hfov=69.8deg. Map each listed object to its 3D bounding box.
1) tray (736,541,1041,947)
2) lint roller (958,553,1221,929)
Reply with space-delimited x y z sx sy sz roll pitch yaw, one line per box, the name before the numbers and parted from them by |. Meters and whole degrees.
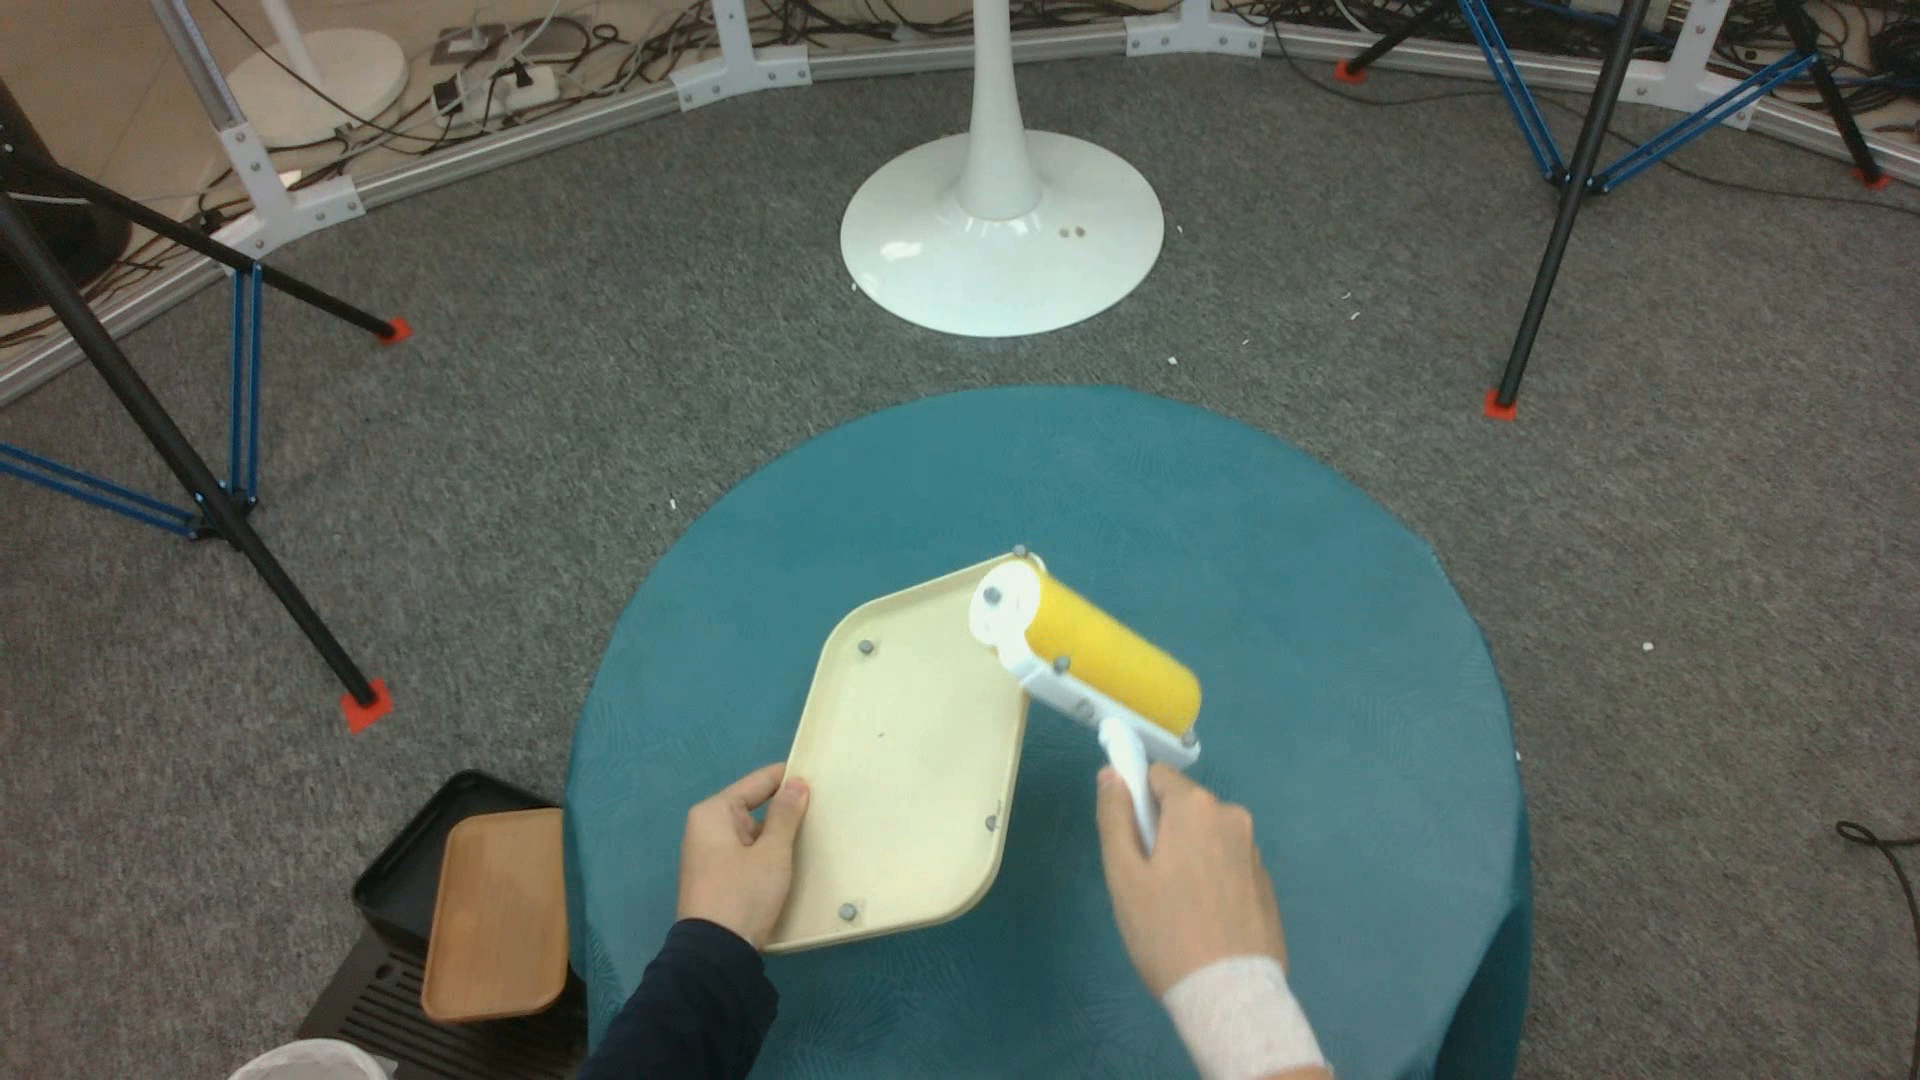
tray | -0.034 0.109 0.767 0.170 0.017 0.241 -20 39 31
lint roller | 0.093 0.104 0.702 0.051 0.174 0.192 -45 46 15
